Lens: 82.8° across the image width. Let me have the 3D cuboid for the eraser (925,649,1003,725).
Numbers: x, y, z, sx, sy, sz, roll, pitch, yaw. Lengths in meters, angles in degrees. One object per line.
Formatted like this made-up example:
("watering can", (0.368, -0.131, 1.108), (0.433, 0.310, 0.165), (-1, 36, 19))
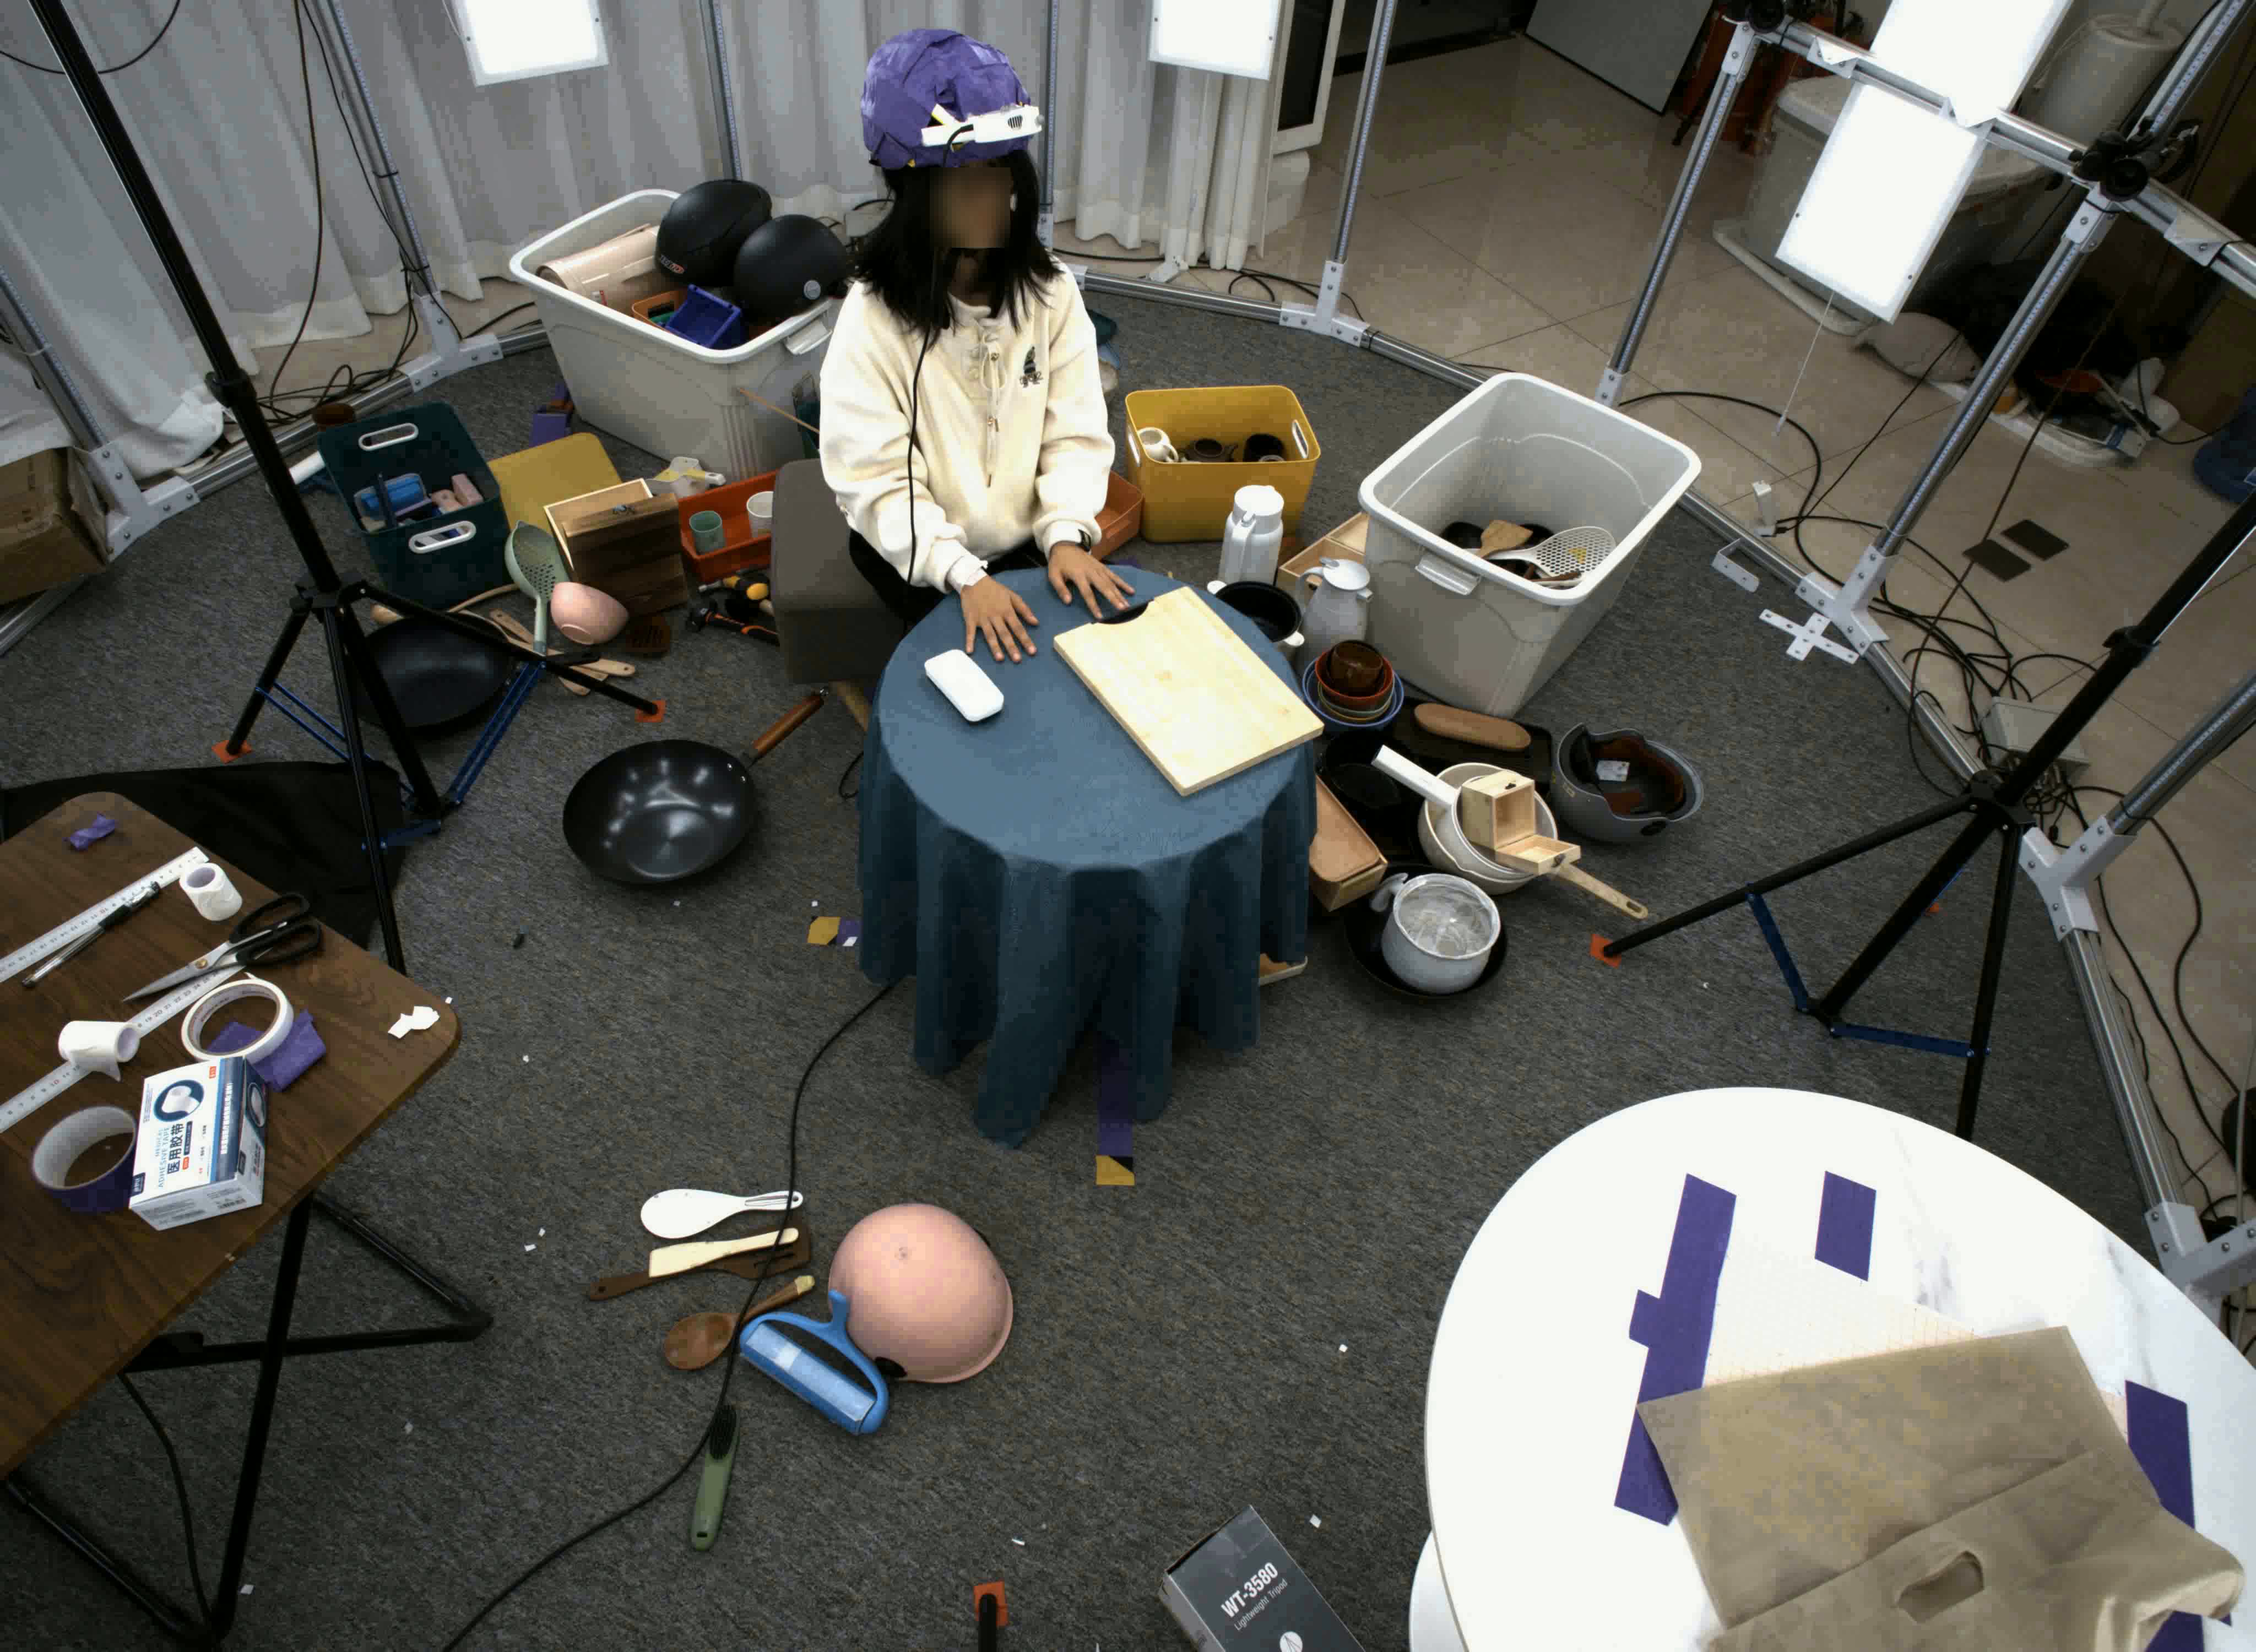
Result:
("eraser", (-0.230, -0.198, 1.807), (0.063, 0.034, 0.134), (-26, 56, -24))

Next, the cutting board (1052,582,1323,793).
("cutting board", (0.080, -0.207, 1.845), (0.252, 0.023, 0.355), (-25, 55, -23))
